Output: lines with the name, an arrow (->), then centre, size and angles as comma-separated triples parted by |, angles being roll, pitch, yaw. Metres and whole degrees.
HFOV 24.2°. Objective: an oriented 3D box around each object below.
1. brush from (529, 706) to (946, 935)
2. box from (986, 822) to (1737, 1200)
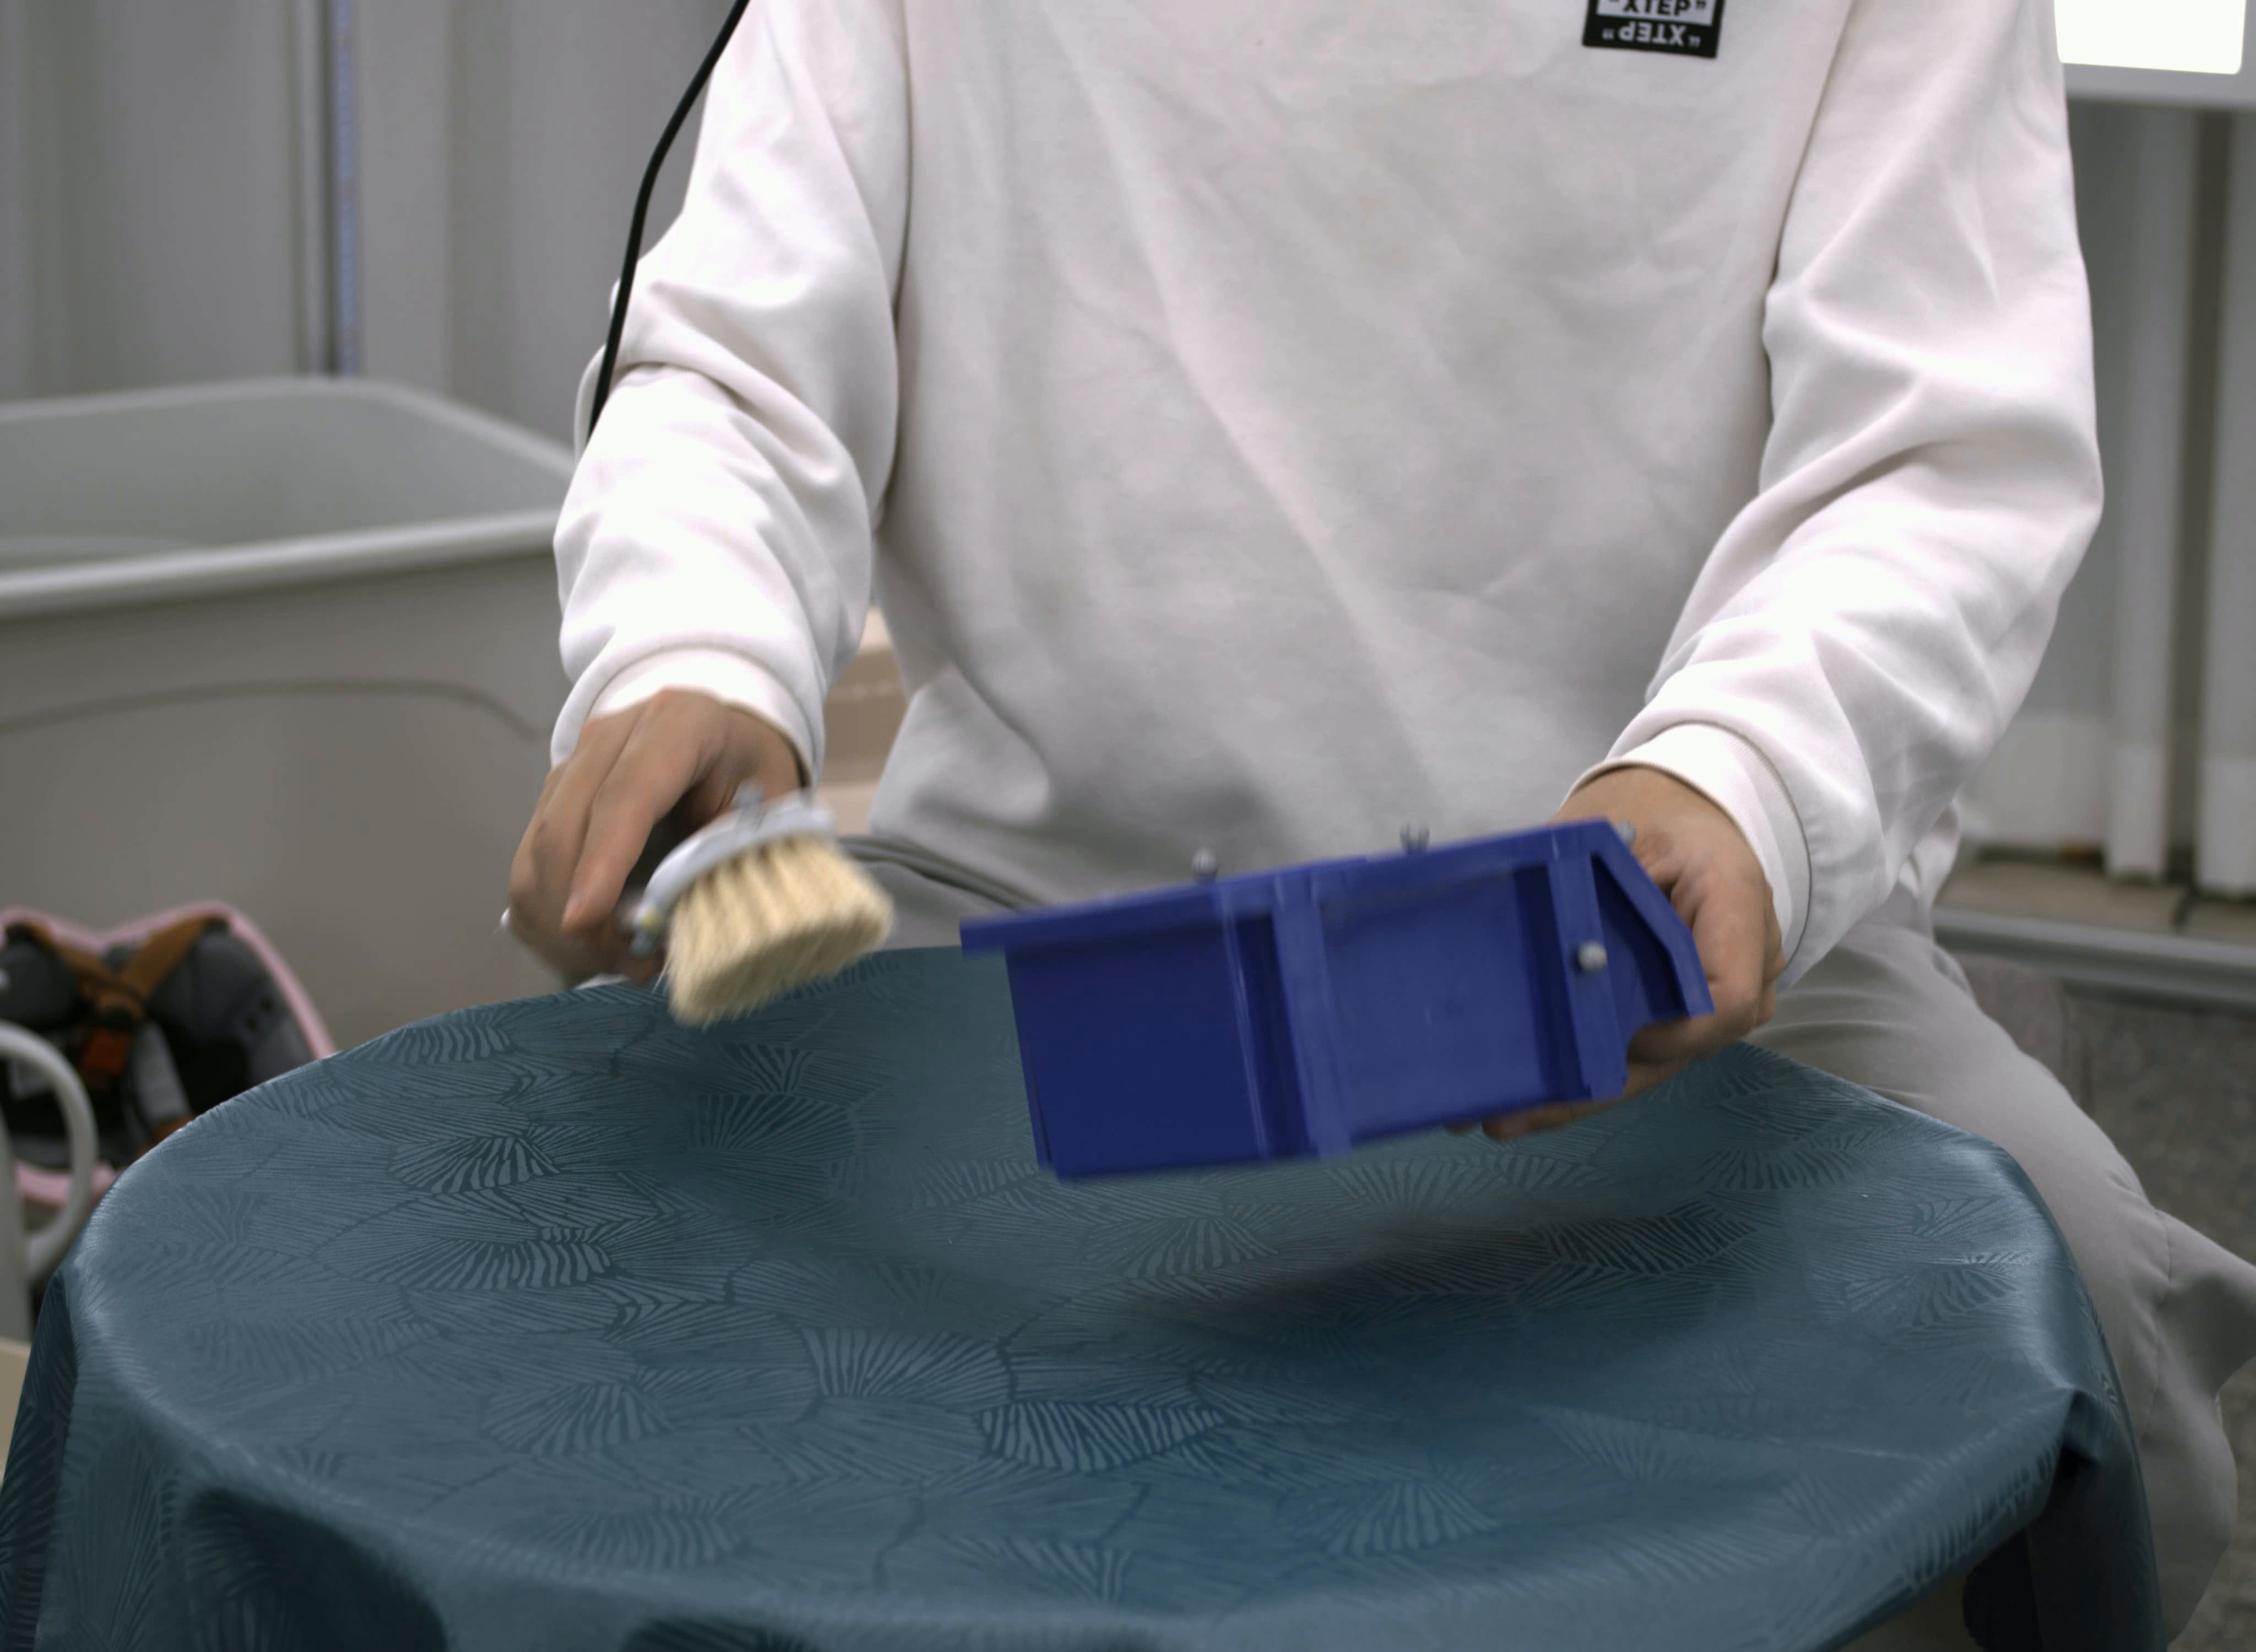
brush -> -0.130, 0.021, 1.637 | 0.069, 0.056, 0.265 | -2, -13, -26
box -> 0.069, 0.053, 1.536 | 0.180, 0.082, 0.123 | -13, 2, -38
